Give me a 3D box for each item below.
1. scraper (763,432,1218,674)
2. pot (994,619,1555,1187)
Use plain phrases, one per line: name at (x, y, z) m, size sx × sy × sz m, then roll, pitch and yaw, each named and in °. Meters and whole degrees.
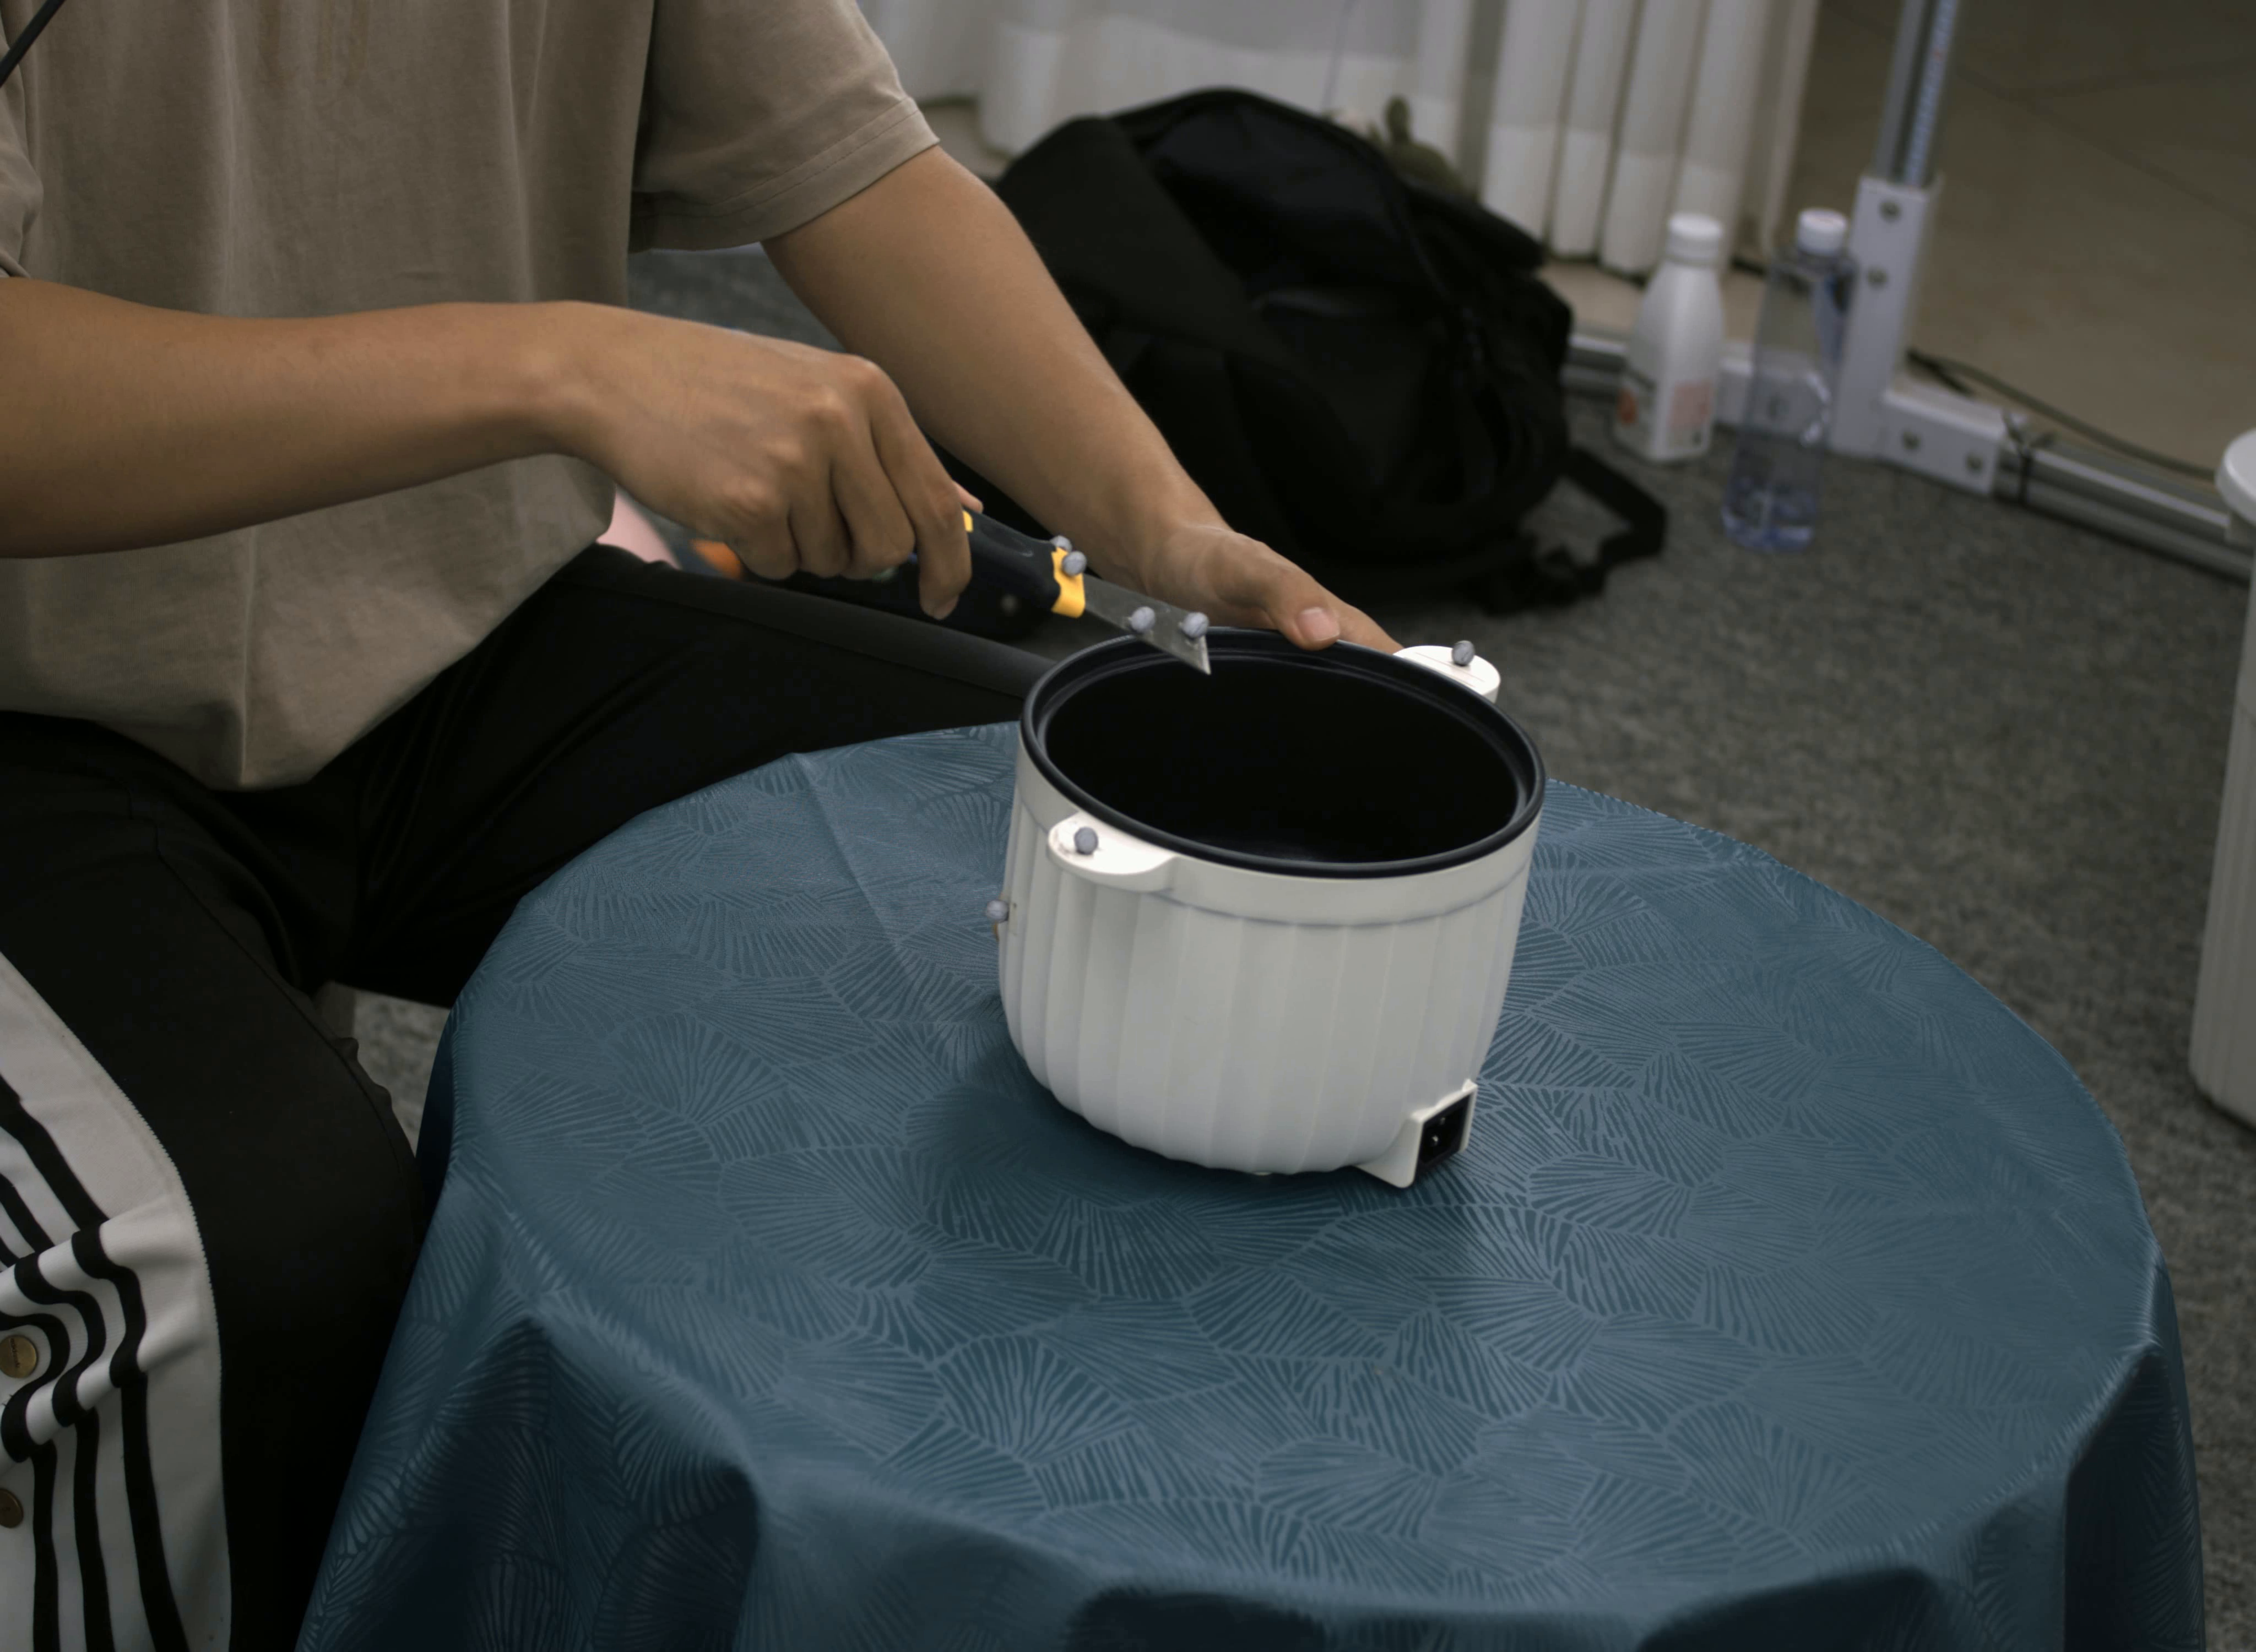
scraper at (-0.044, -0.091, 1.764) m, size 0.169 × 0.015 × 0.039 m, roll 22°, pitch 37°, yaw -21°
pot at (0.042, 0.028, 1.848) m, size 0.191 × 0.142 × 0.239 m, roll 28°, pitch 33°, yaw 27°
